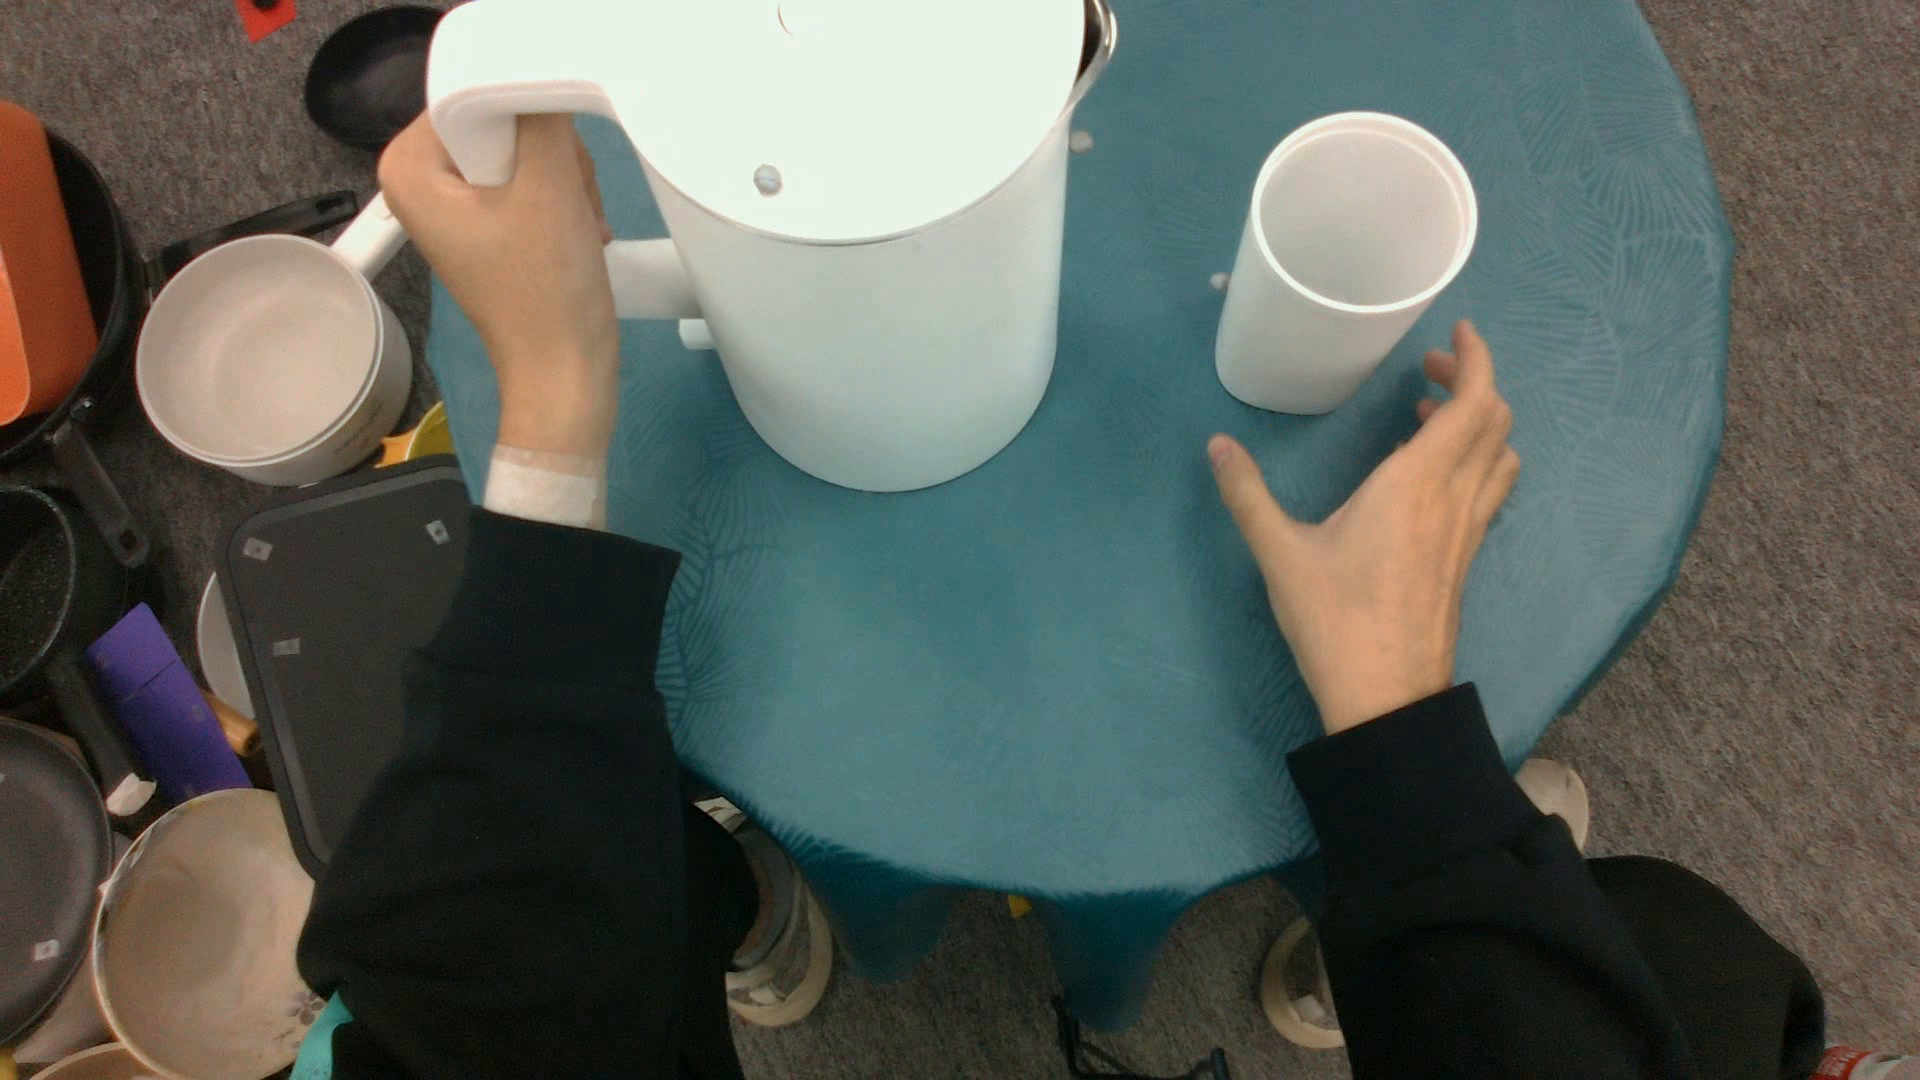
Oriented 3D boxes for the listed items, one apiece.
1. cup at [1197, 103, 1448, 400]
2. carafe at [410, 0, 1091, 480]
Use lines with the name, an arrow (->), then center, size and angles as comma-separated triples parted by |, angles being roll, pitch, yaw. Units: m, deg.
cup -> 0.141, -0.111, 0.570 | 0.081, 0.125, 0.082 | 0, 76, 1
carafe -> -0.067, -0.130, 0.519 | 0.213, 0.239, 0.152 | -3, 74, -1
